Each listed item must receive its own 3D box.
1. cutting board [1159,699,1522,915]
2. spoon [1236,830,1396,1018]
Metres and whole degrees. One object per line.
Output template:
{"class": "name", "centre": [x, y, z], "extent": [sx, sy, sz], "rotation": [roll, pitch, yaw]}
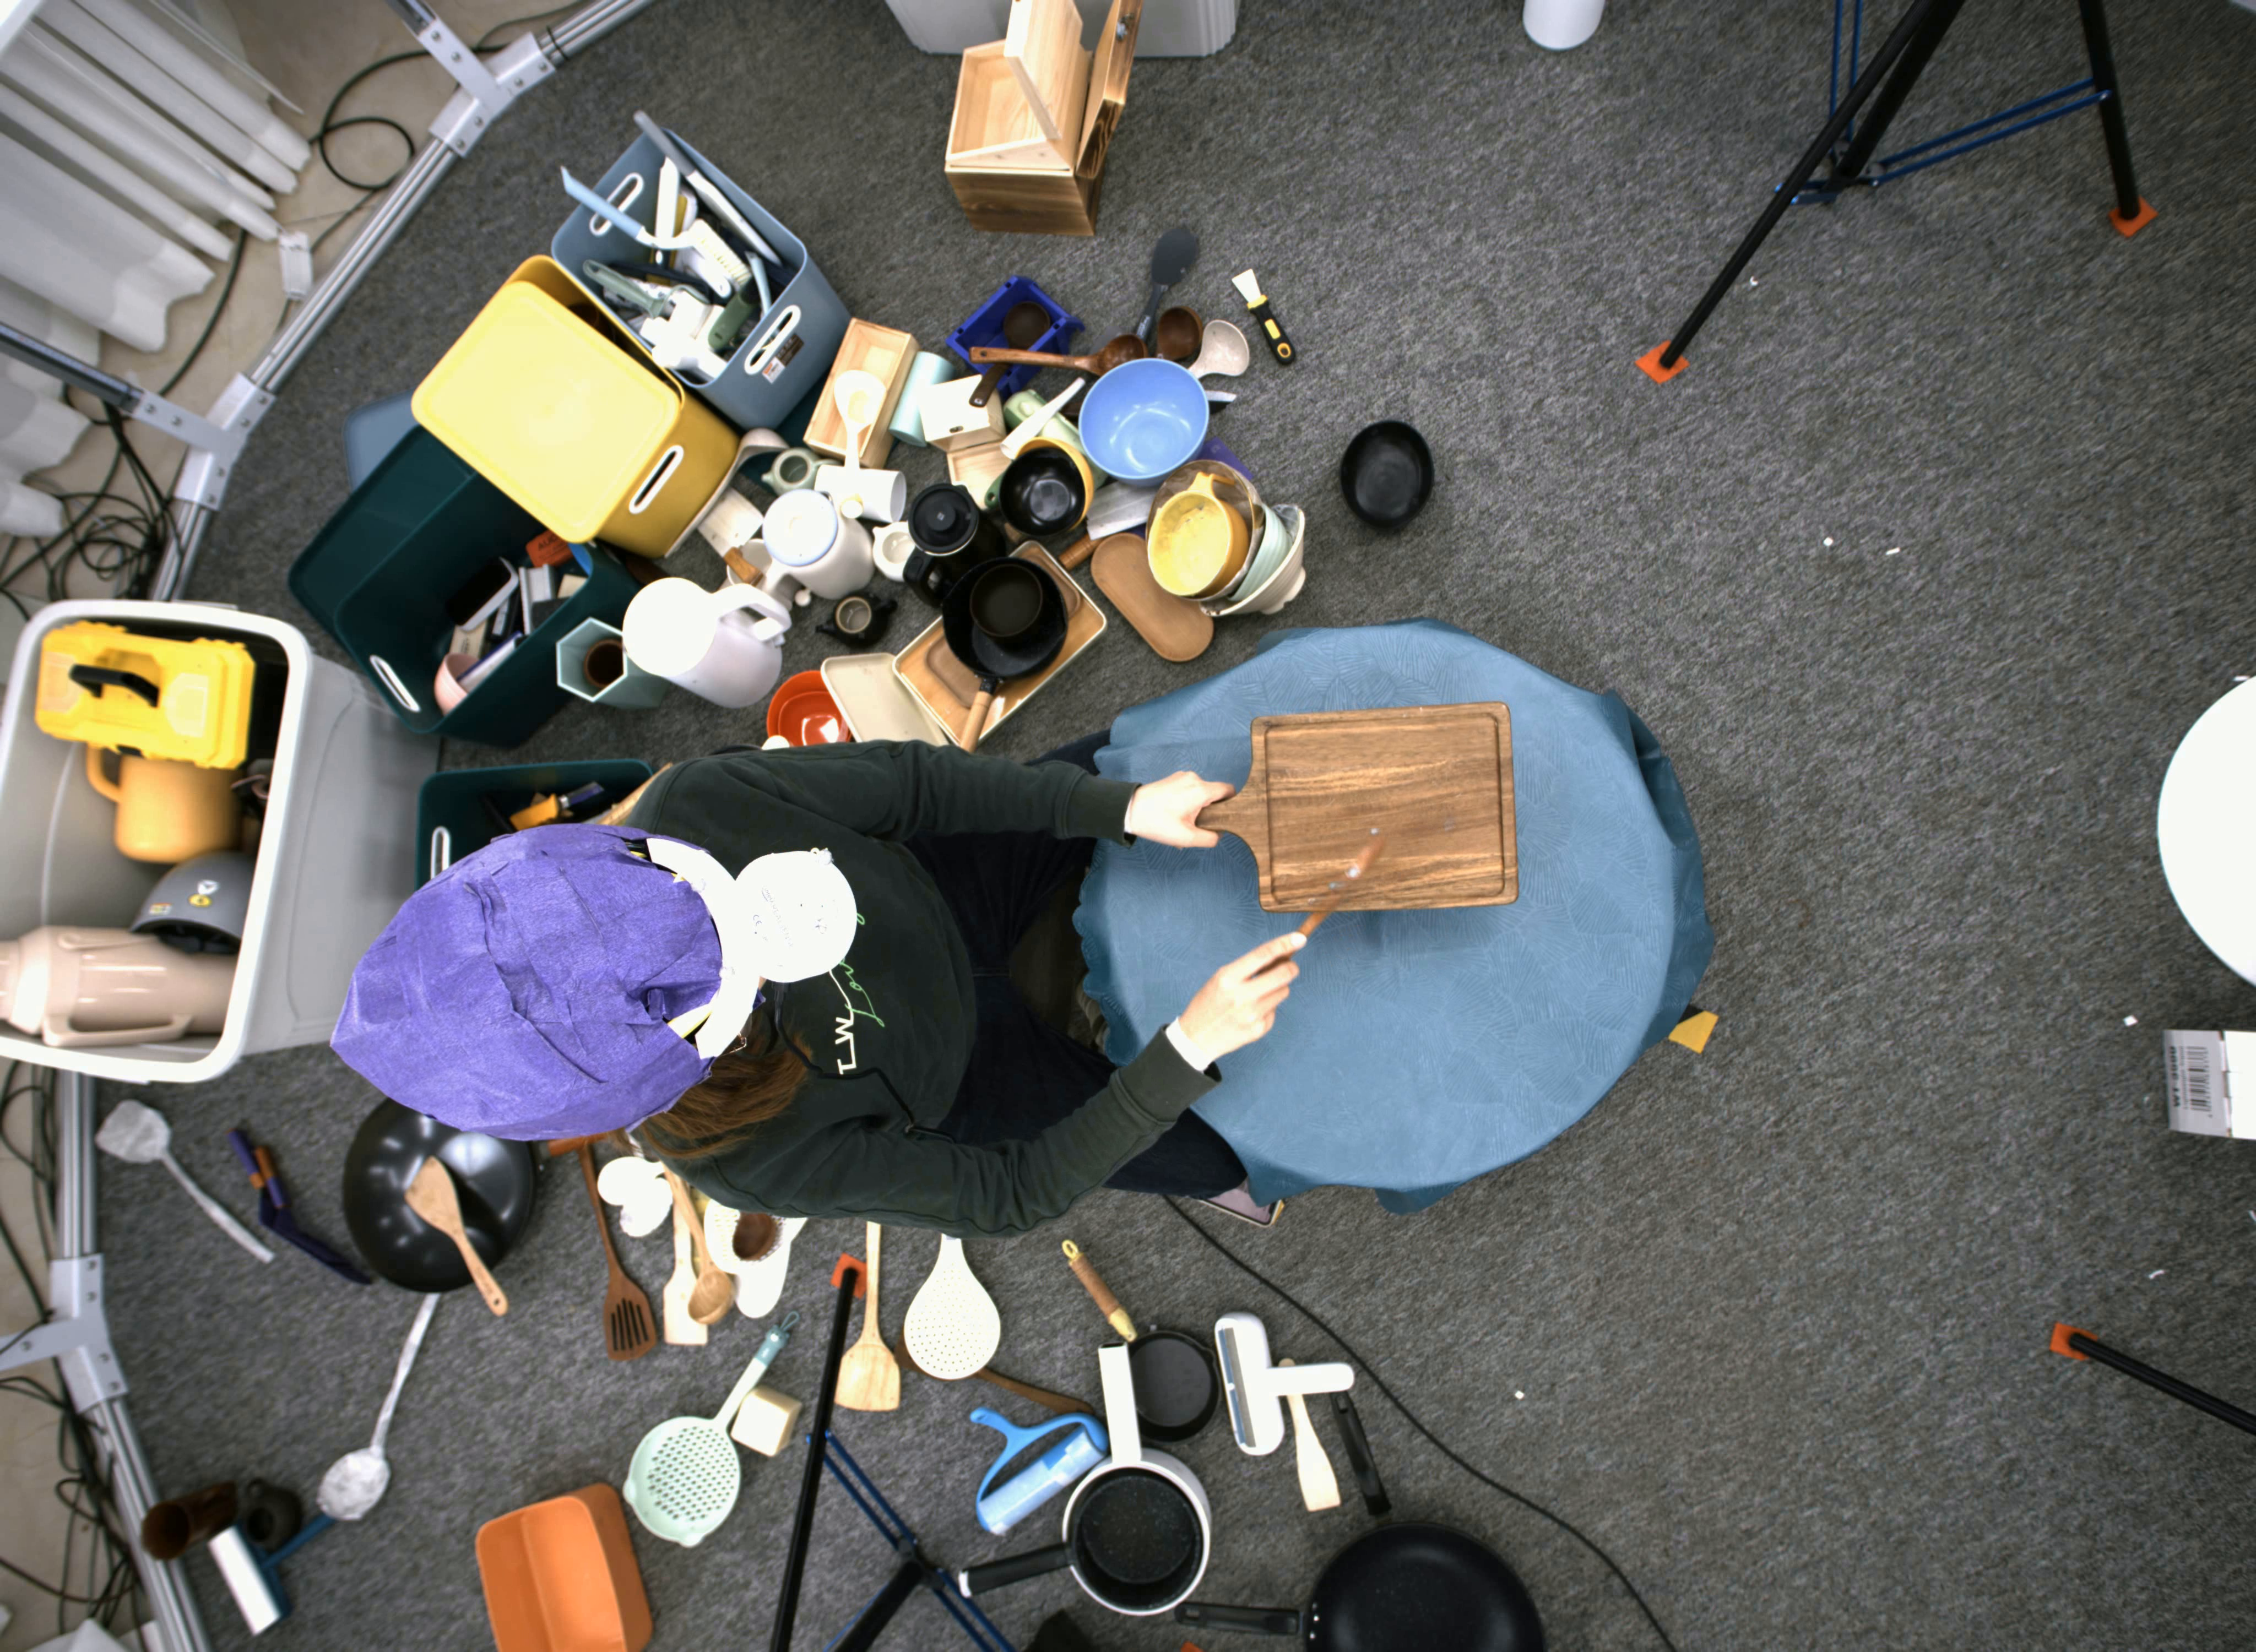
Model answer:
{"class": "cutting board", "centre": [0.204, -0.015, 1.363], "extent": [0.354, 0.023, 0.201], "rotation": [-3, 94, 14]}
{"class": "spoon", "centre": [0.171, 0.088, 1.241], "extent": [0.017, 0.075, 0.217], "rotation": [40, 98, 2]}
